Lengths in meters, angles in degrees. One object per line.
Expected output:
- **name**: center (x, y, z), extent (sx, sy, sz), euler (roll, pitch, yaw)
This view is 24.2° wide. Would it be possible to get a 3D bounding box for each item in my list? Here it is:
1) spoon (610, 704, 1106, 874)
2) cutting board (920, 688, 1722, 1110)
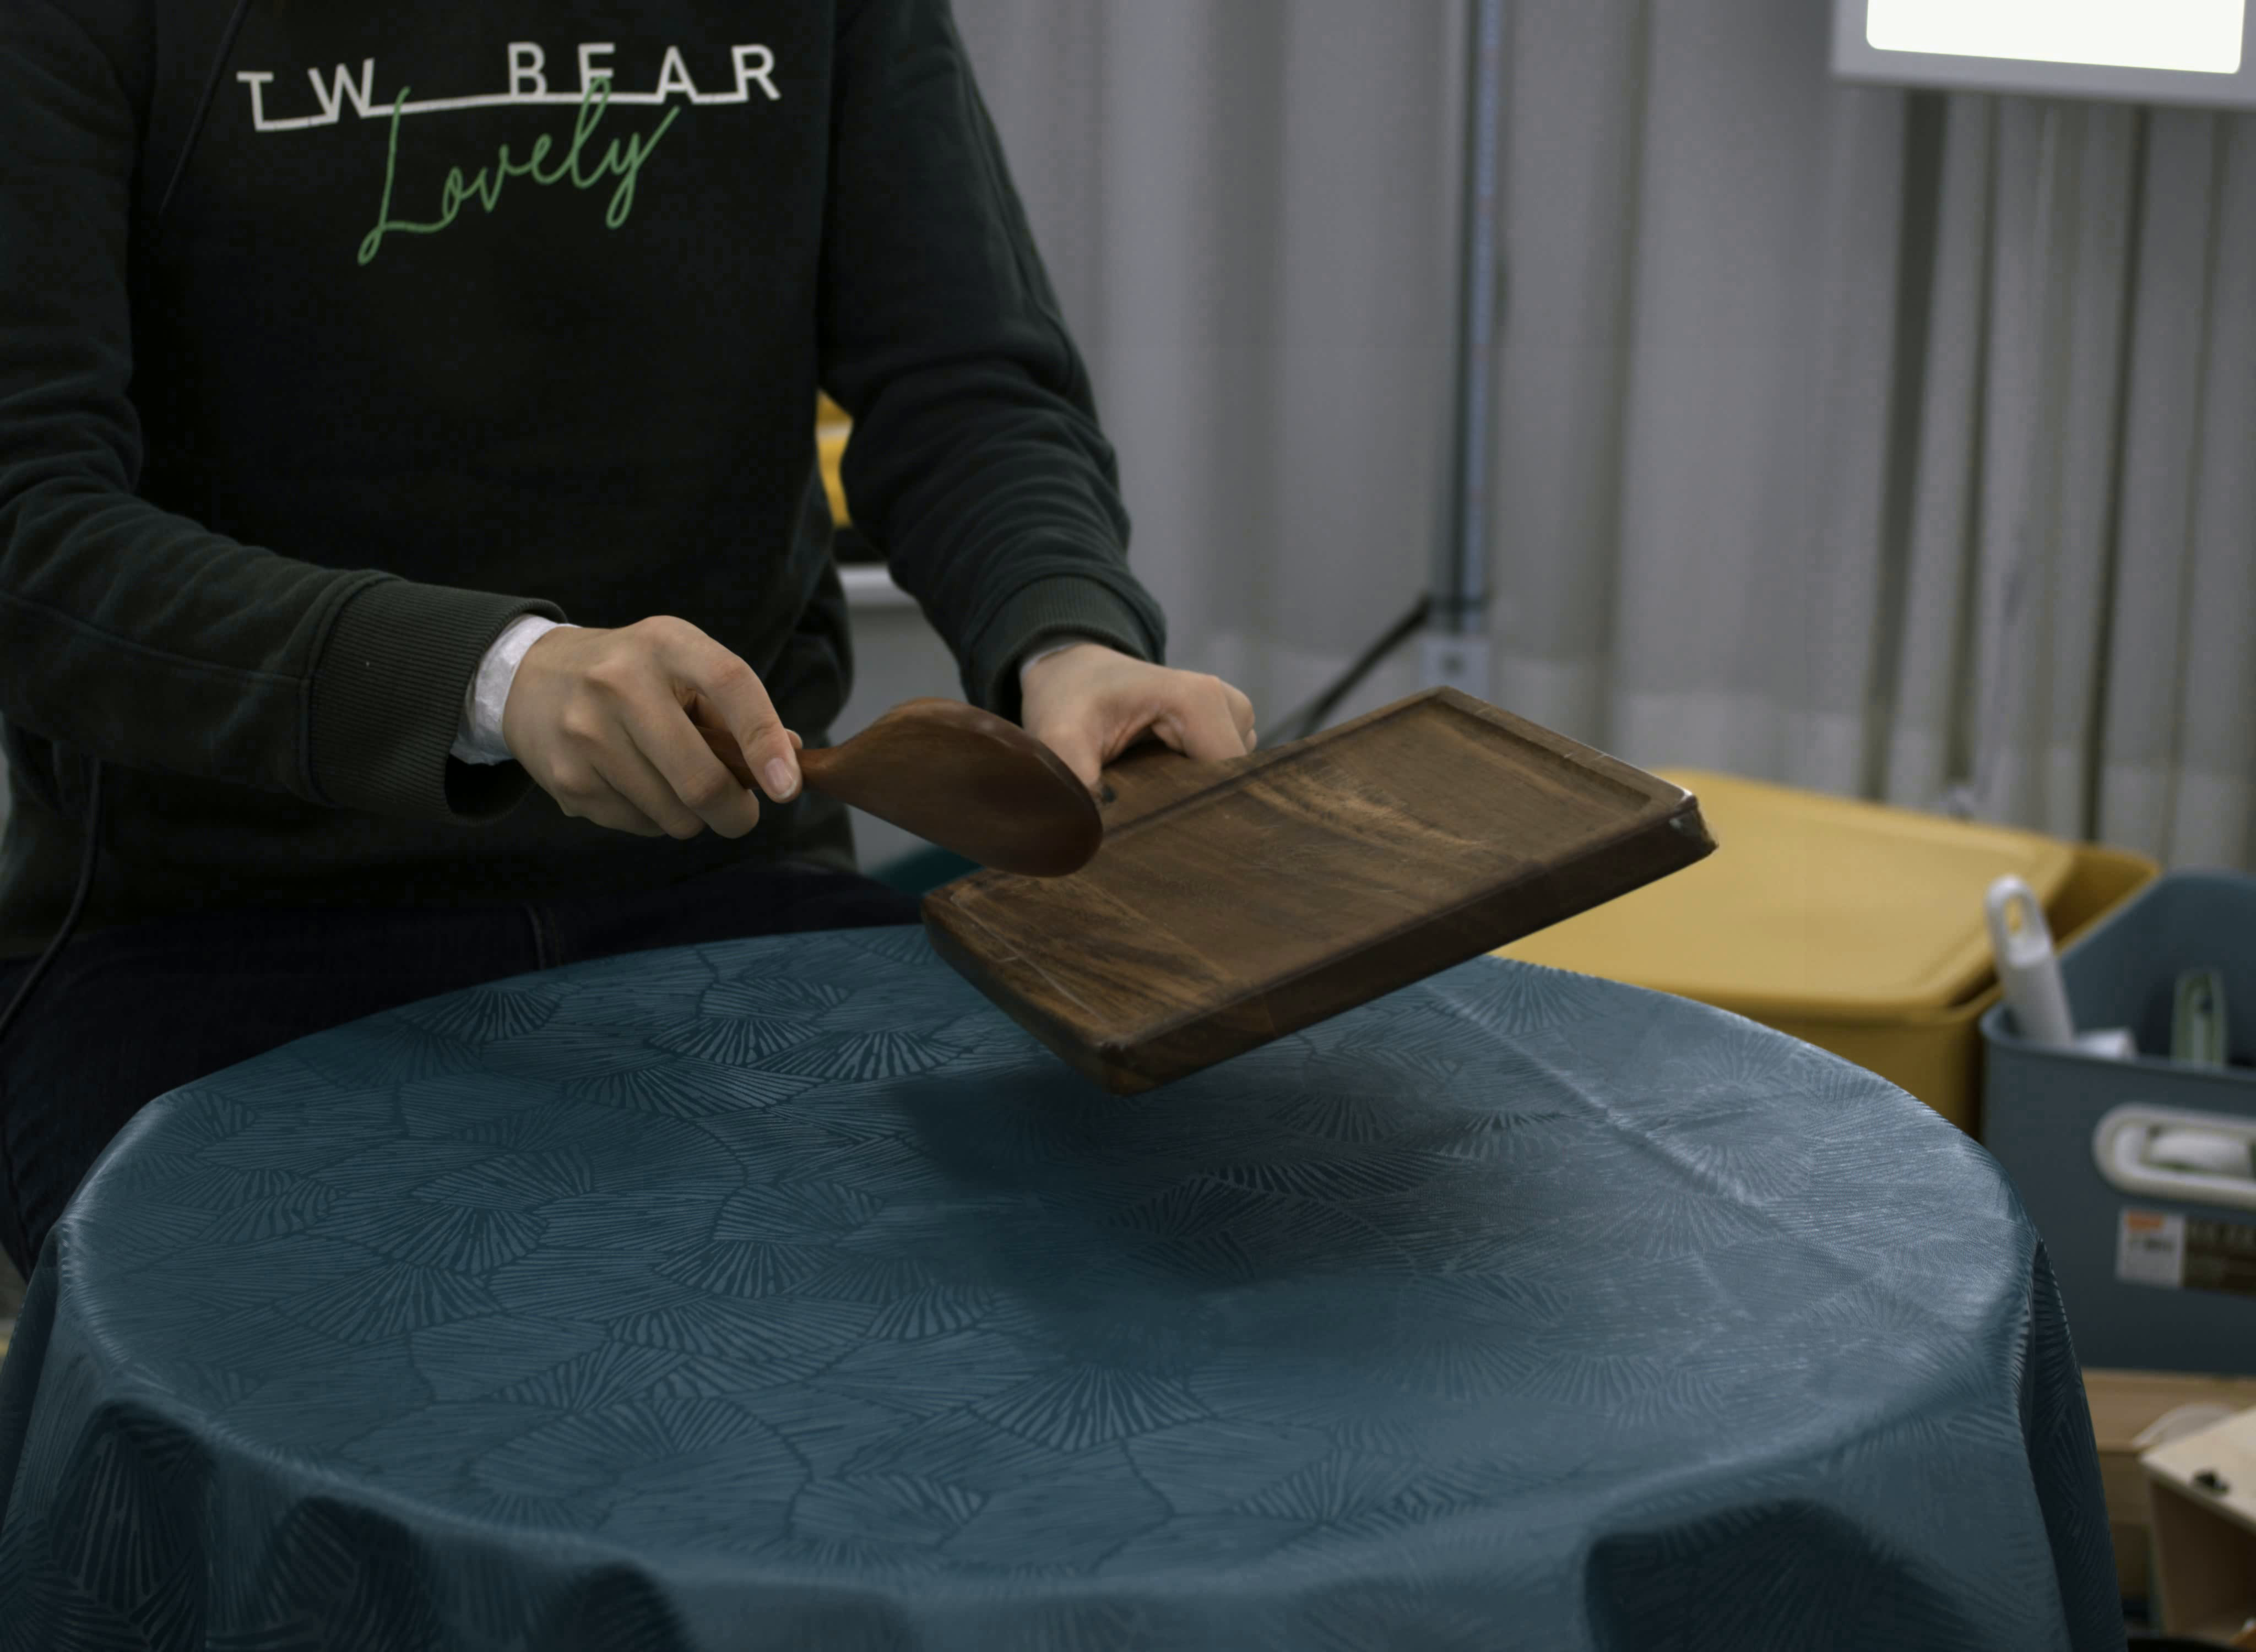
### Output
- **spoon**: center (-0.090, -0.015, 1.642), extent (0.213, 0.076, 0.017), euler (9, 57, 45)
- **cutting board**: center (0.040, 0.010, 1.682), extent (0.201, 0.023, 0.349), euler (-23, 14, -10)
